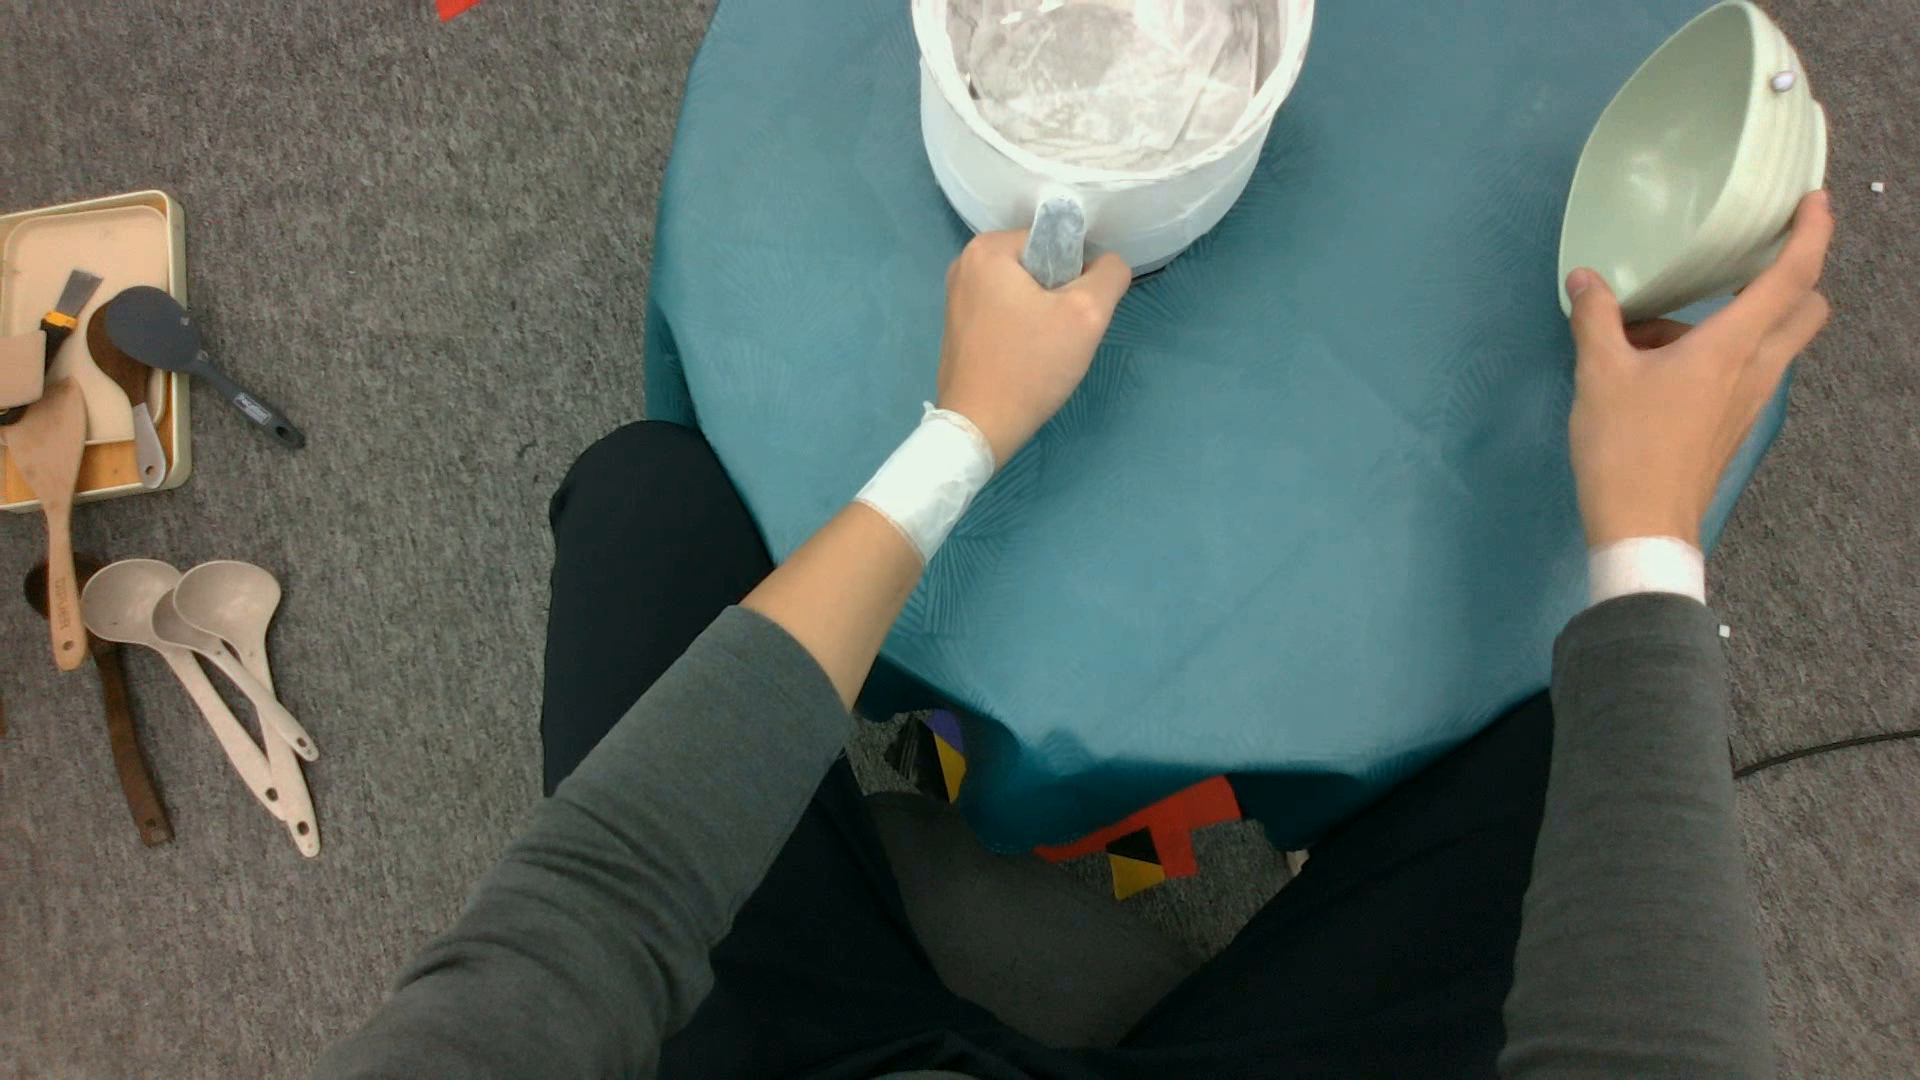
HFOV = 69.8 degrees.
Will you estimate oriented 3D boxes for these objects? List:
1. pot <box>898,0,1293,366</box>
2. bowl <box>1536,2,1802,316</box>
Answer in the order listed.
[{"bbox_3d":[0.054,-0.206,0.669,0.179,0.136,0.234,12,80,2],"label":"pot"},{"bbox_3d":[0.337,-0.167,0.645,0.058,0.151,0.151,19,80,-5],"label":"bowl"}]
